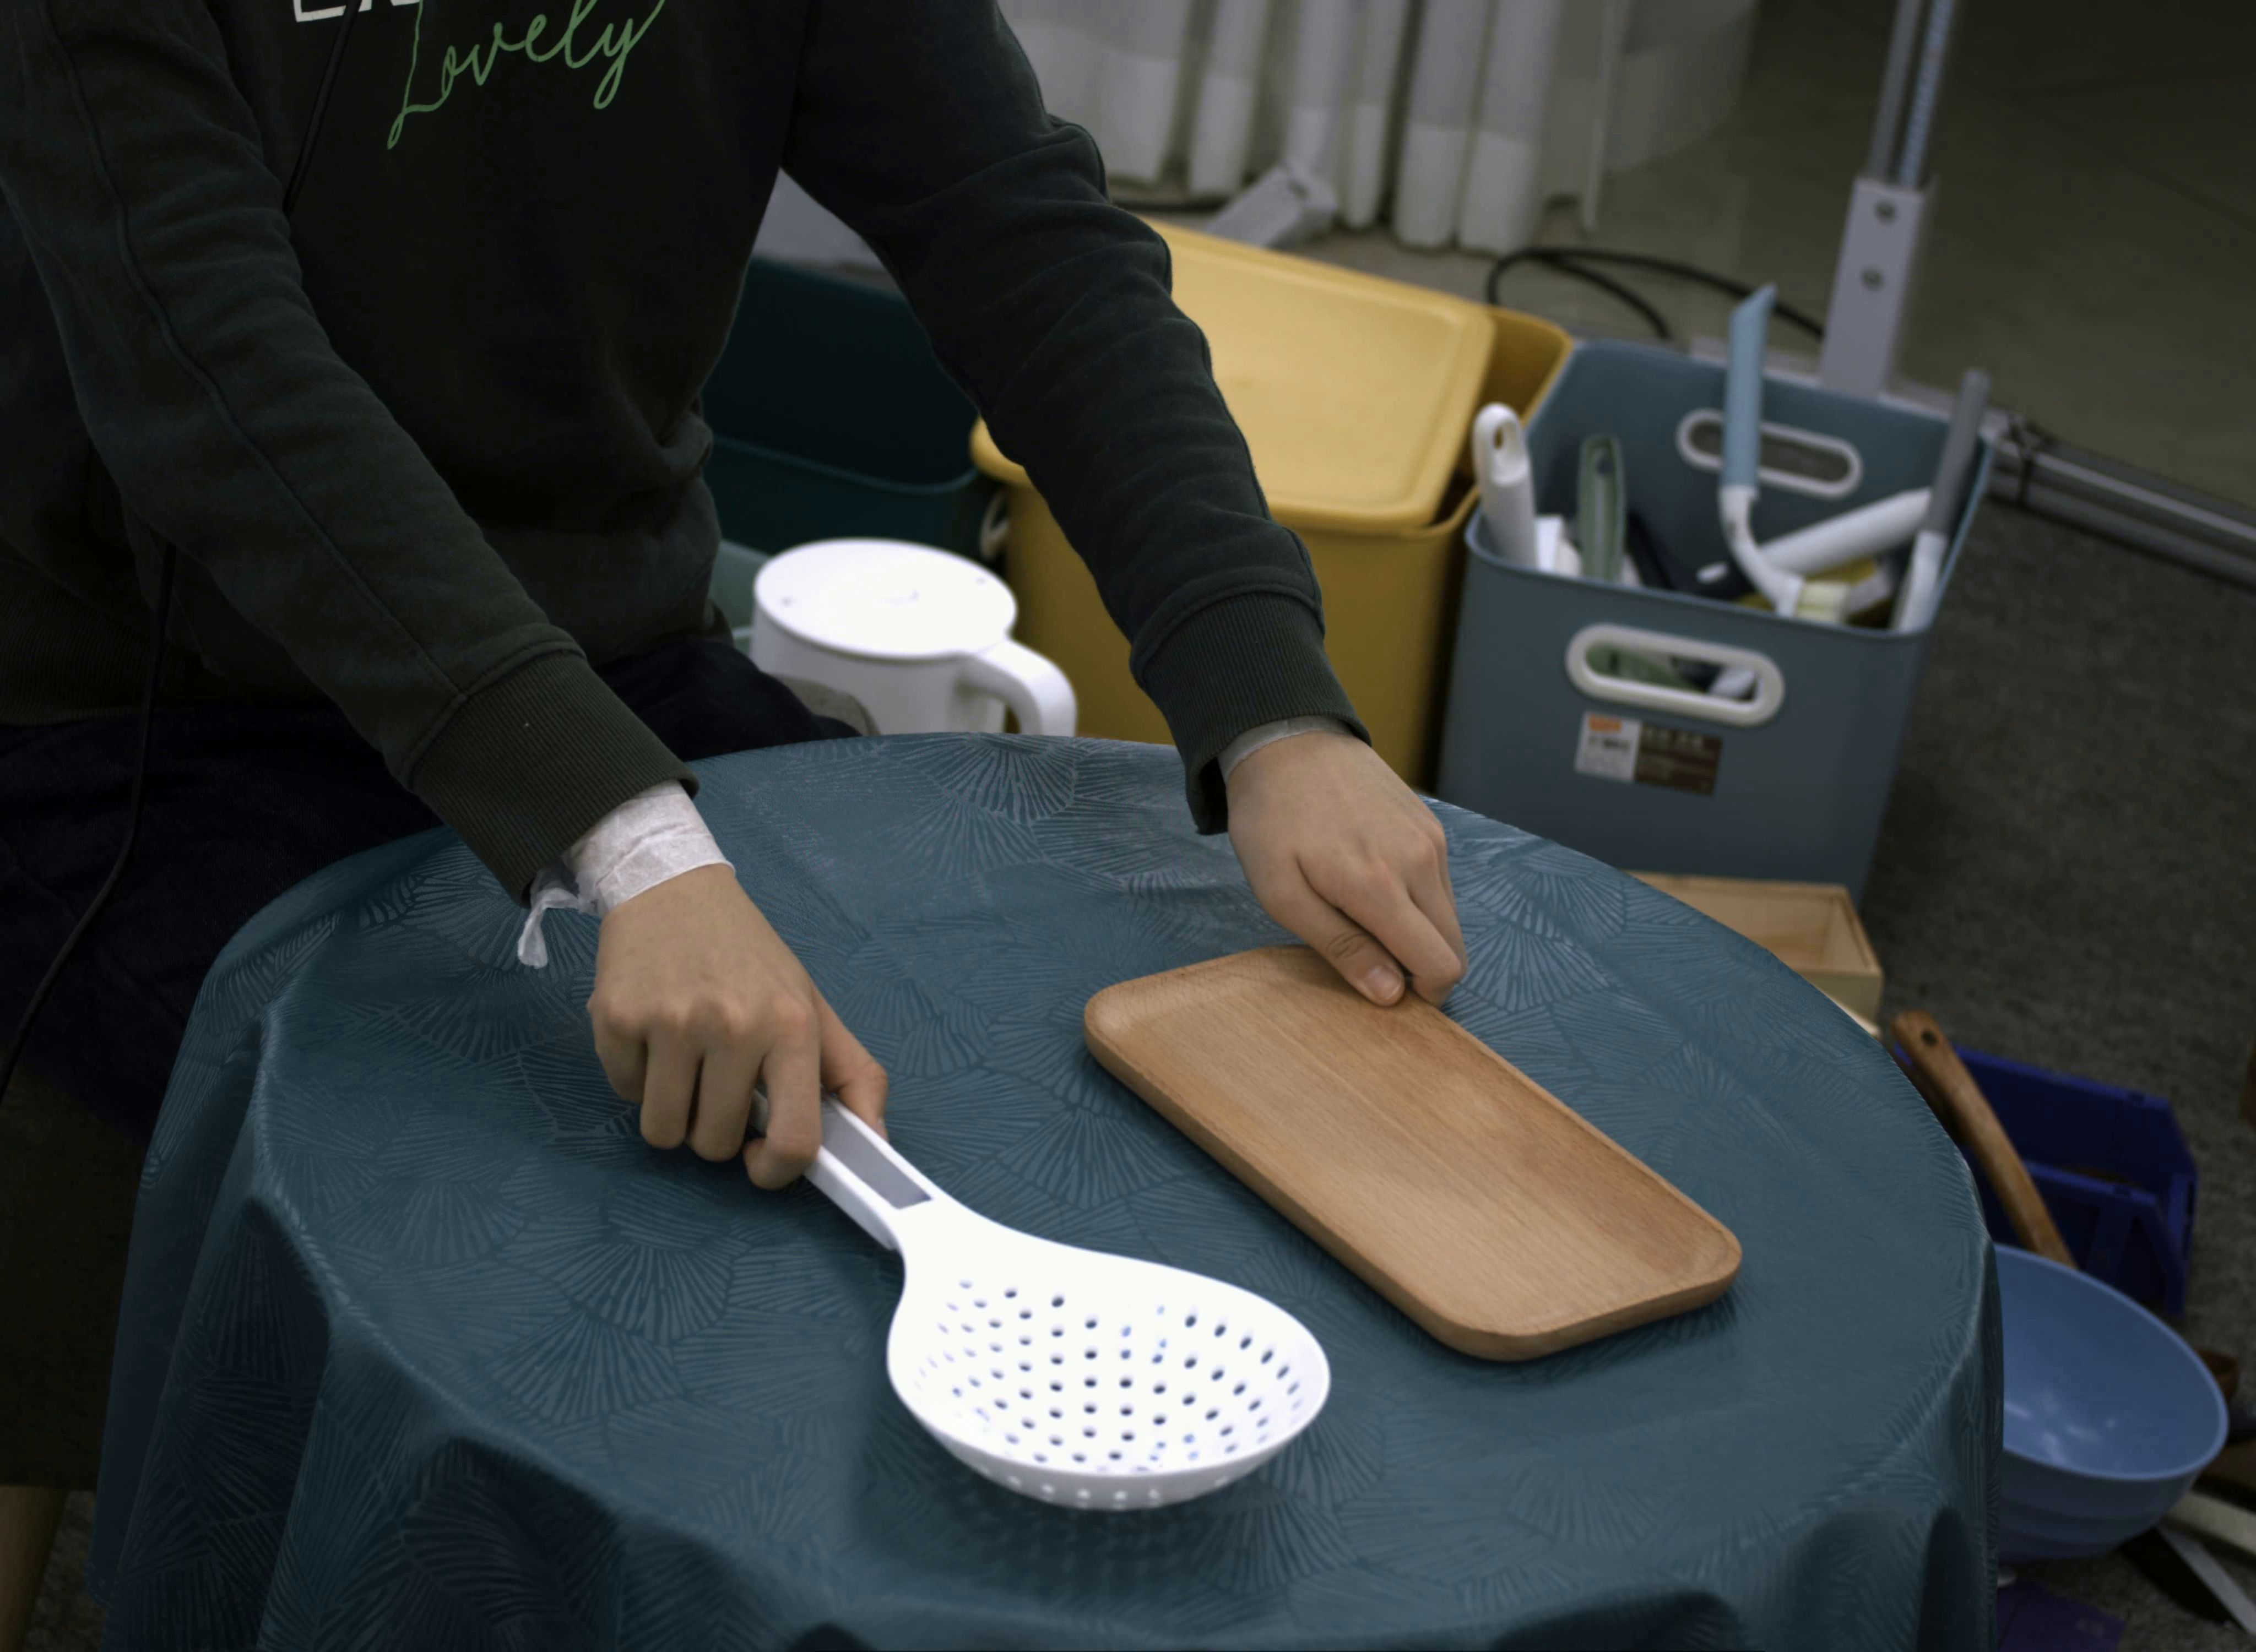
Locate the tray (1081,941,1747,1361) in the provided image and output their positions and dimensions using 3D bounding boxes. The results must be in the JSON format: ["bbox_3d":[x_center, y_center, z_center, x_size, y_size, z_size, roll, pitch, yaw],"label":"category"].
[{"bbox_3d":[0.095,0.109,1.832,0.130,0.023,0.253,-10,30,-33],"label":"tray"}]

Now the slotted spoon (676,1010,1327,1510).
[{"bbox_3d":[-0.061,0.133,1.717,0.135,0.045,0.353,-9,30,-29],"label":"slotted spoon"}]
